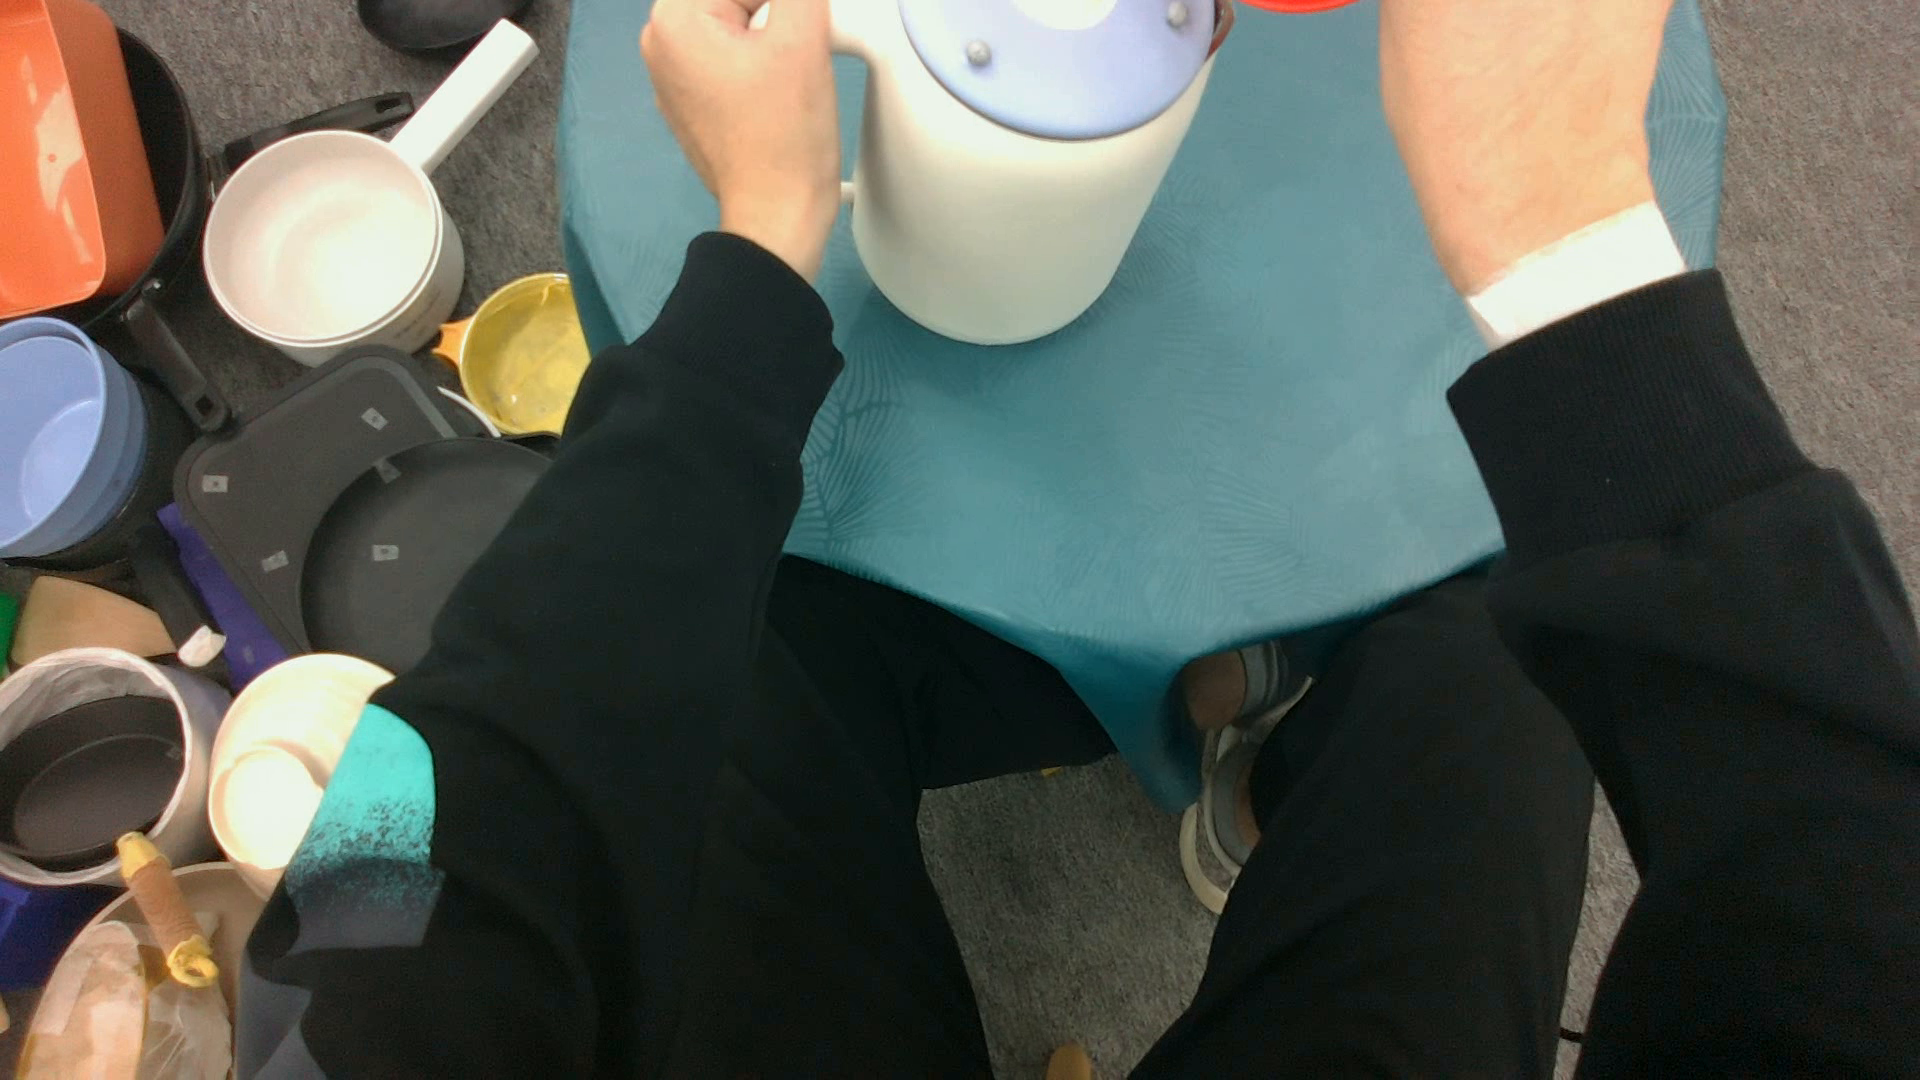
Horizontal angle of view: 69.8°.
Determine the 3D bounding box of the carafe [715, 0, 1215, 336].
[{"bbox_3d":[-0.007,-0.179,0.579,0.191,0.182,0.132,-1,72,-8],"label":"carafe"}]
